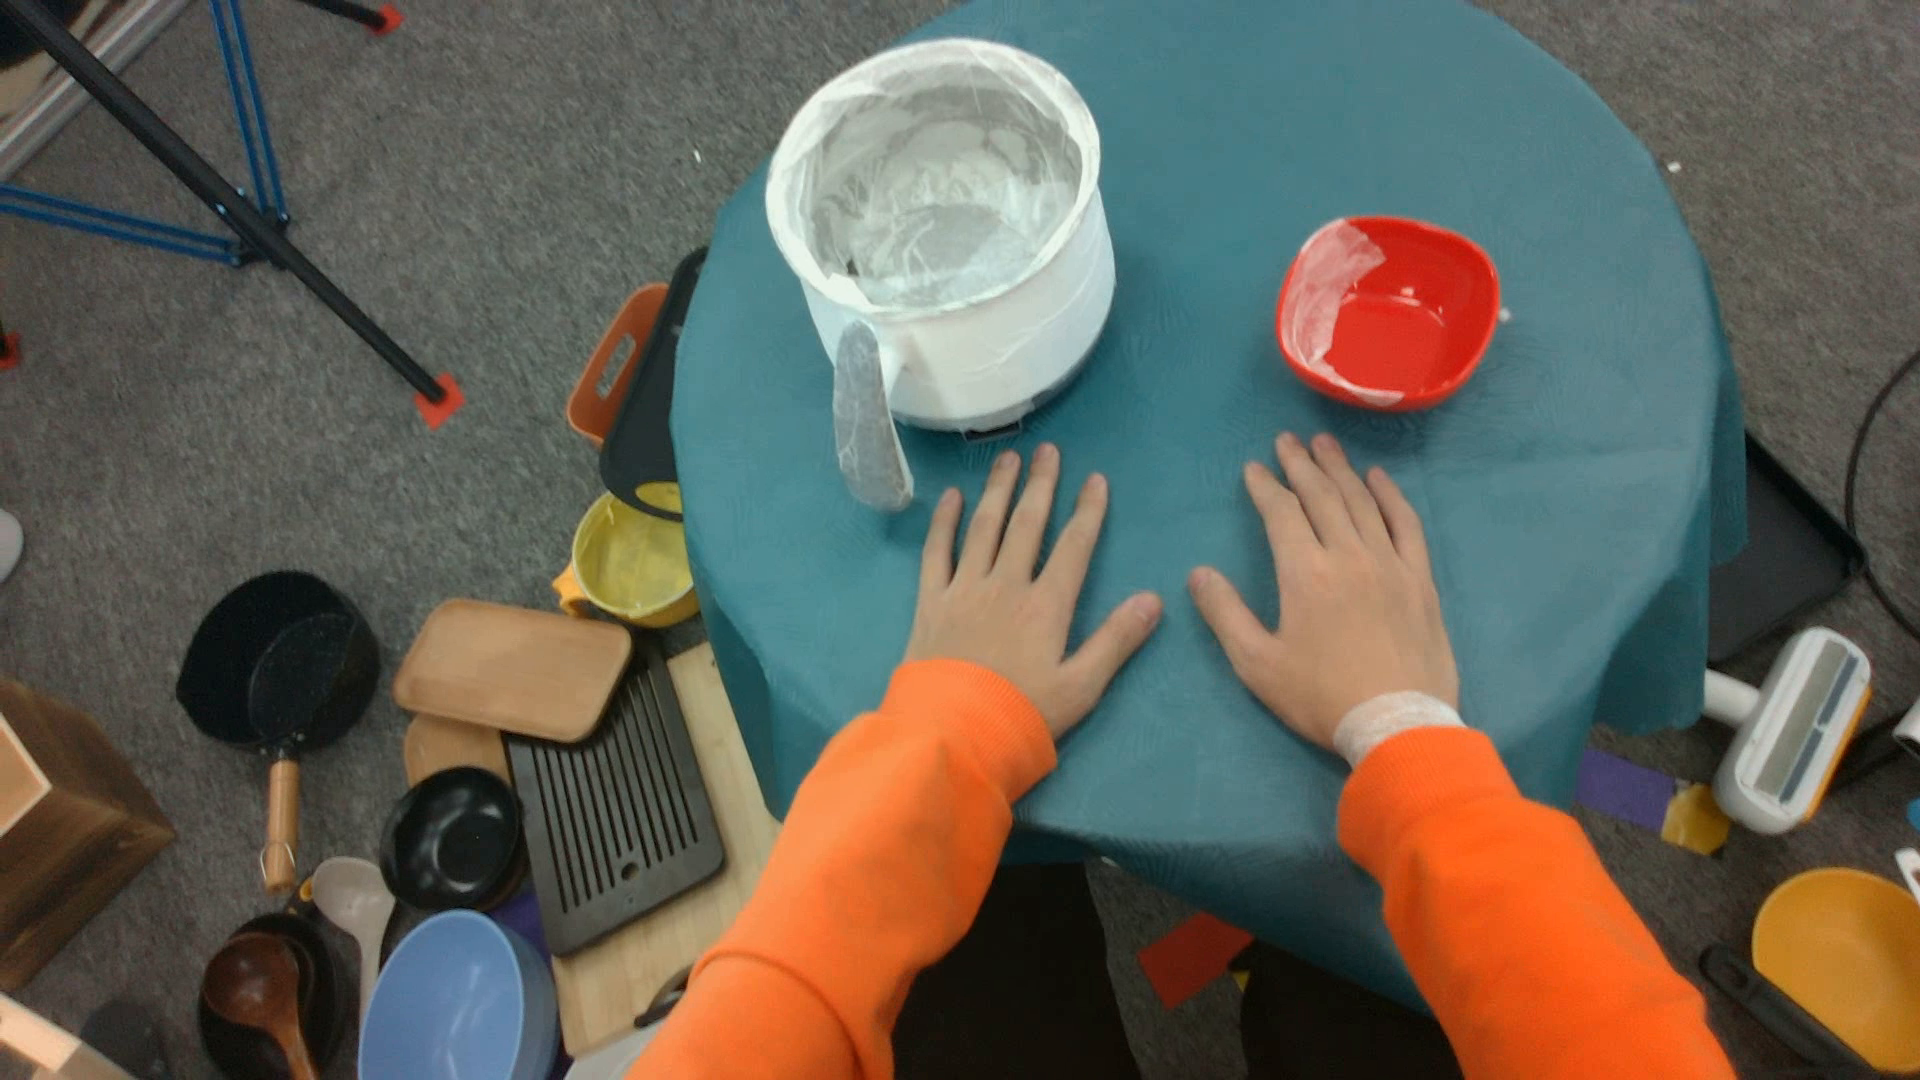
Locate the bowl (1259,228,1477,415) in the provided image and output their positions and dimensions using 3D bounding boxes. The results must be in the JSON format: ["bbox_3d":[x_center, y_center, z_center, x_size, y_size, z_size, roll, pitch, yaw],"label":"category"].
[{"bbox_3d":[0.221,-0.111,0.756,0.119,0.051,0.119,-4,63,7],"label":"bowl"}]

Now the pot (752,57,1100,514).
[{"bbox_3d":[-0.021,-0.135,0.765,0.178,0.136,0.234,13,66,17],"label":"pot"}]
